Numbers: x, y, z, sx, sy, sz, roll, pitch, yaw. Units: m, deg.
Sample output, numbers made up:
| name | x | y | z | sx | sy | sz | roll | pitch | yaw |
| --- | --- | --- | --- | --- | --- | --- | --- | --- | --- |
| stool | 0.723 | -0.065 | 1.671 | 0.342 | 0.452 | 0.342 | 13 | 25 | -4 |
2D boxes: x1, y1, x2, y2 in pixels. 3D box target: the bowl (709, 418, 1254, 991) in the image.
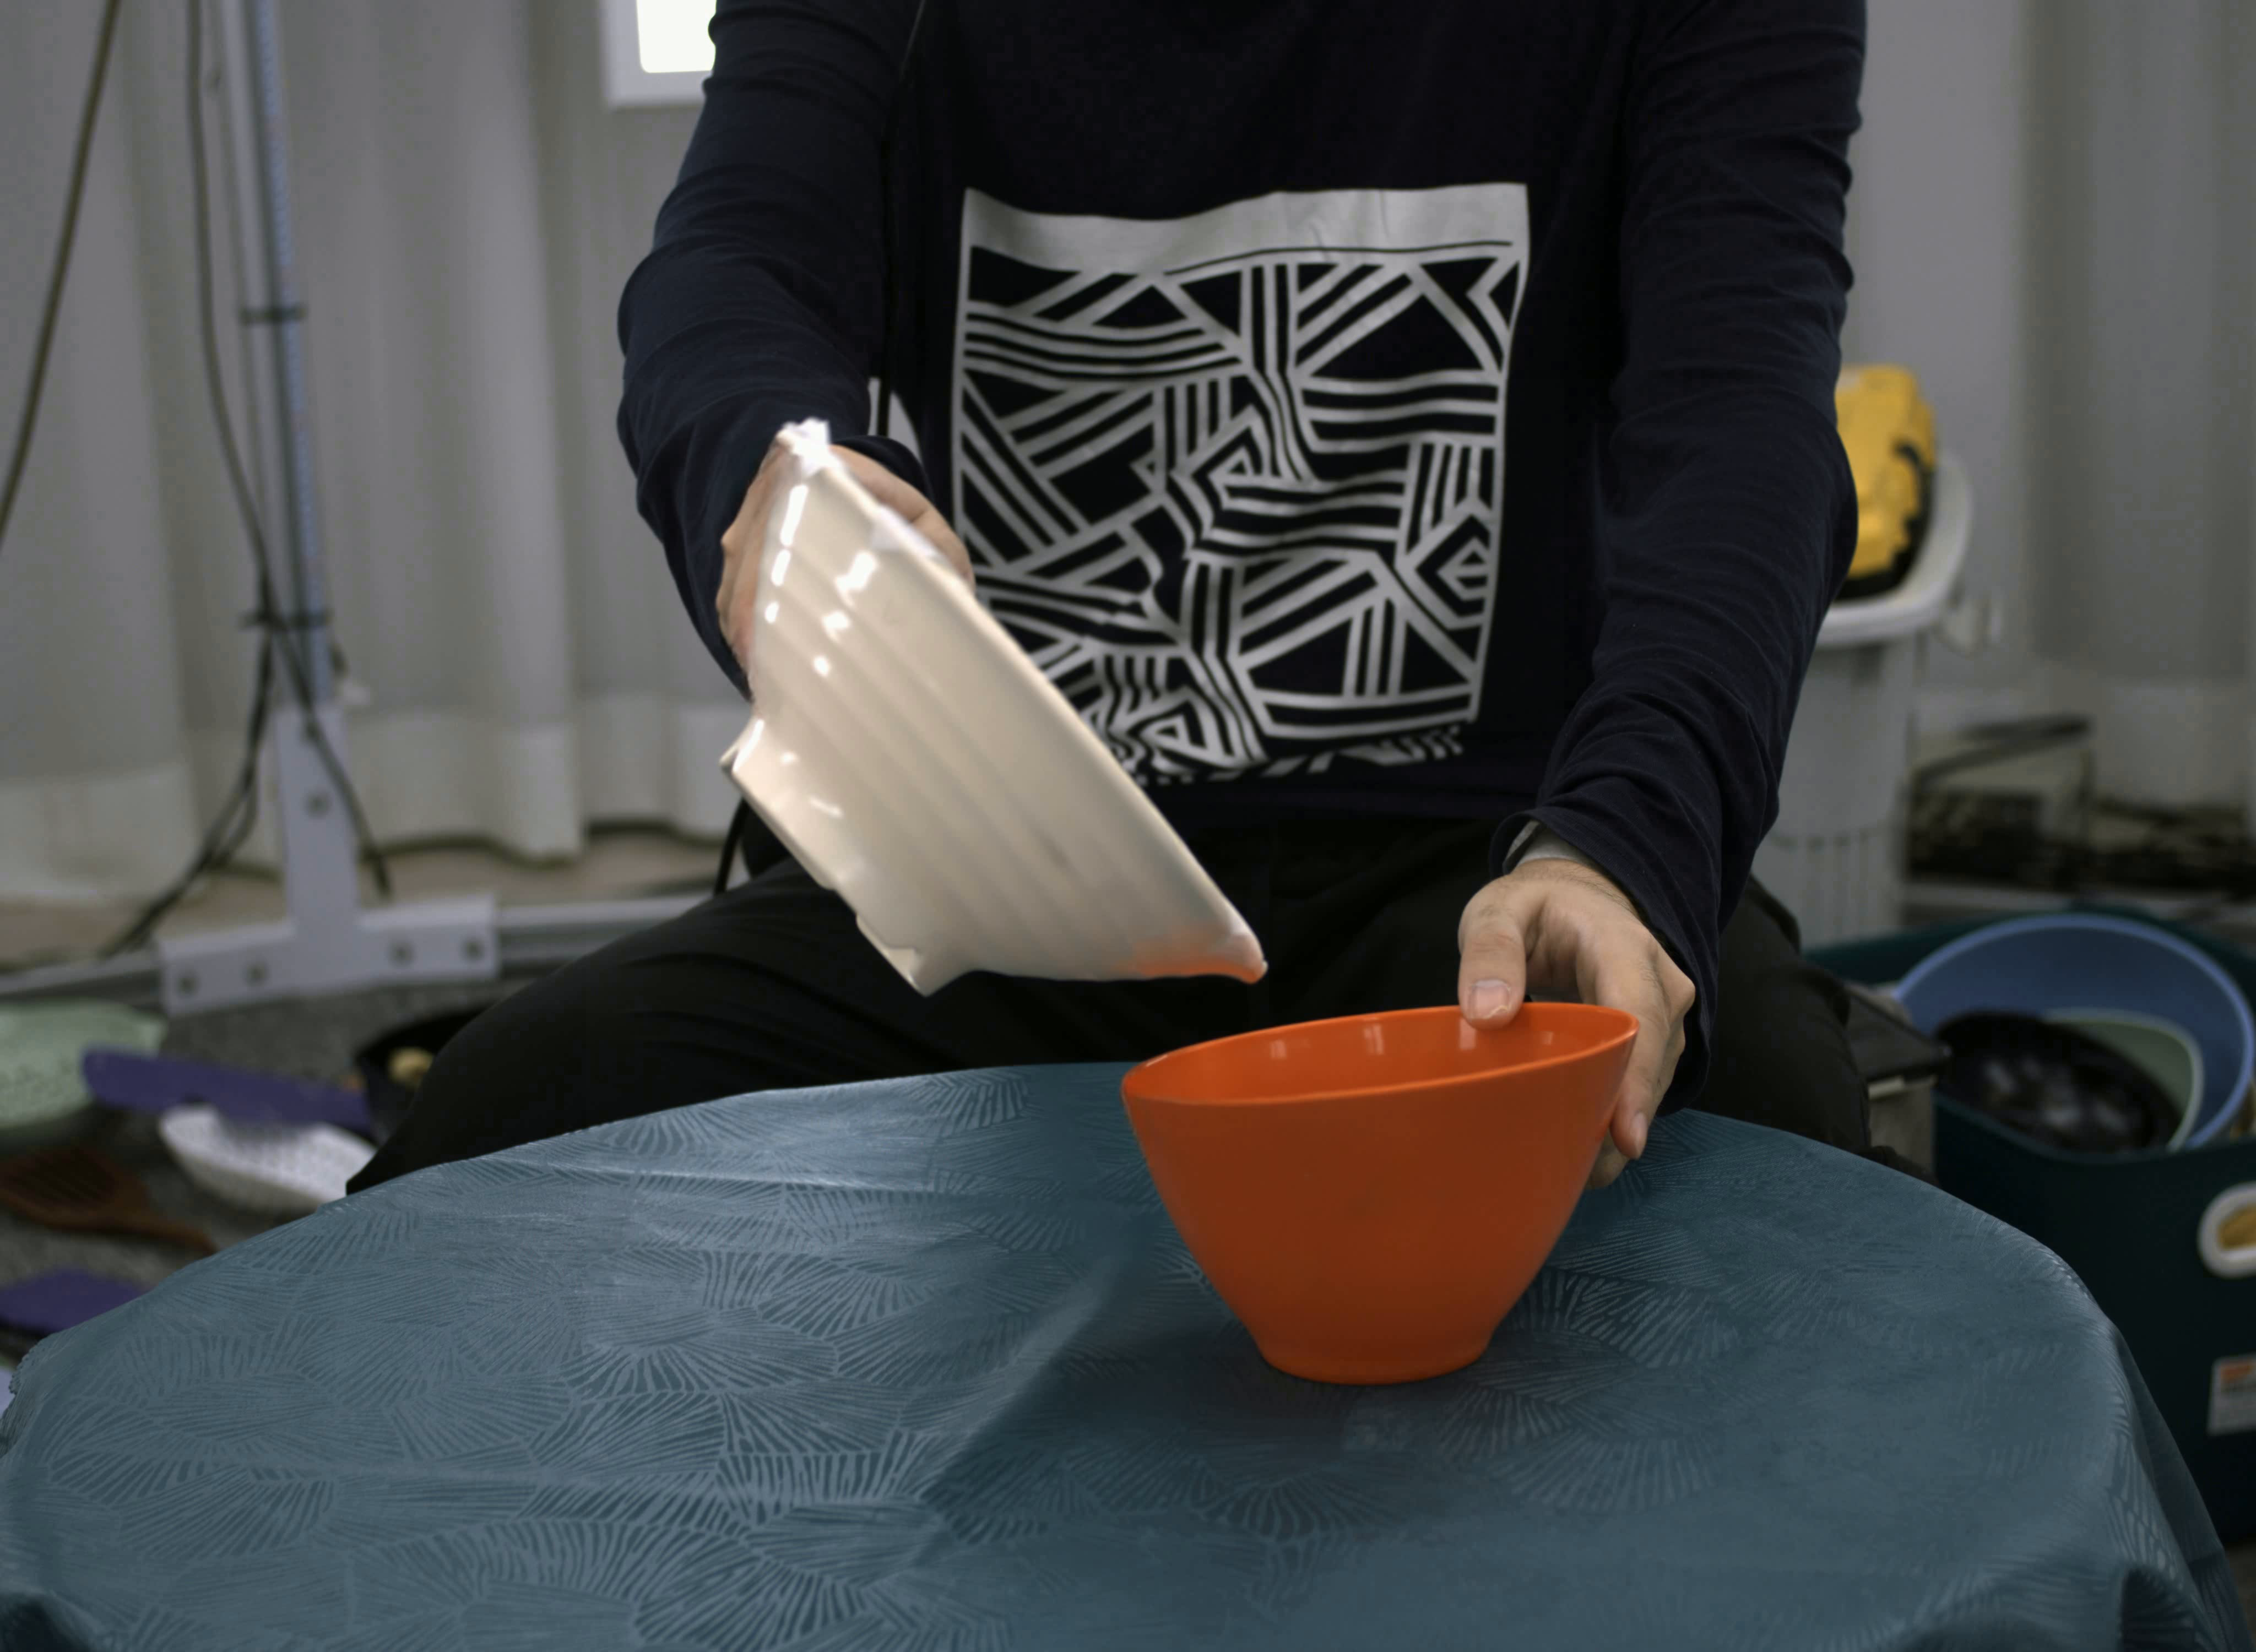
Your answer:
| name | x | y | z | sx | sy | sz | roll | pitch | yaw |
| --- | --- | --- | --- | --- | --- | --- | --- | --- | --- |
| bowl | -0.059 | -0.012 | 1.521 | 0.078 | 0.202 | 0.205 | -42 | 22 | -5 |

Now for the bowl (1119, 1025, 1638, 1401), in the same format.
| name | x | y | z | sx | sy | sz | roll | pitch | yaw |
| --- | --- | --- | --- | --- | --- | --- | --- | --- | --- |
| bowl | 0.072 | 0.107 | 1.550 | 0.147 | 0.104 | 0.149 | -3 | 10 | 0 |
